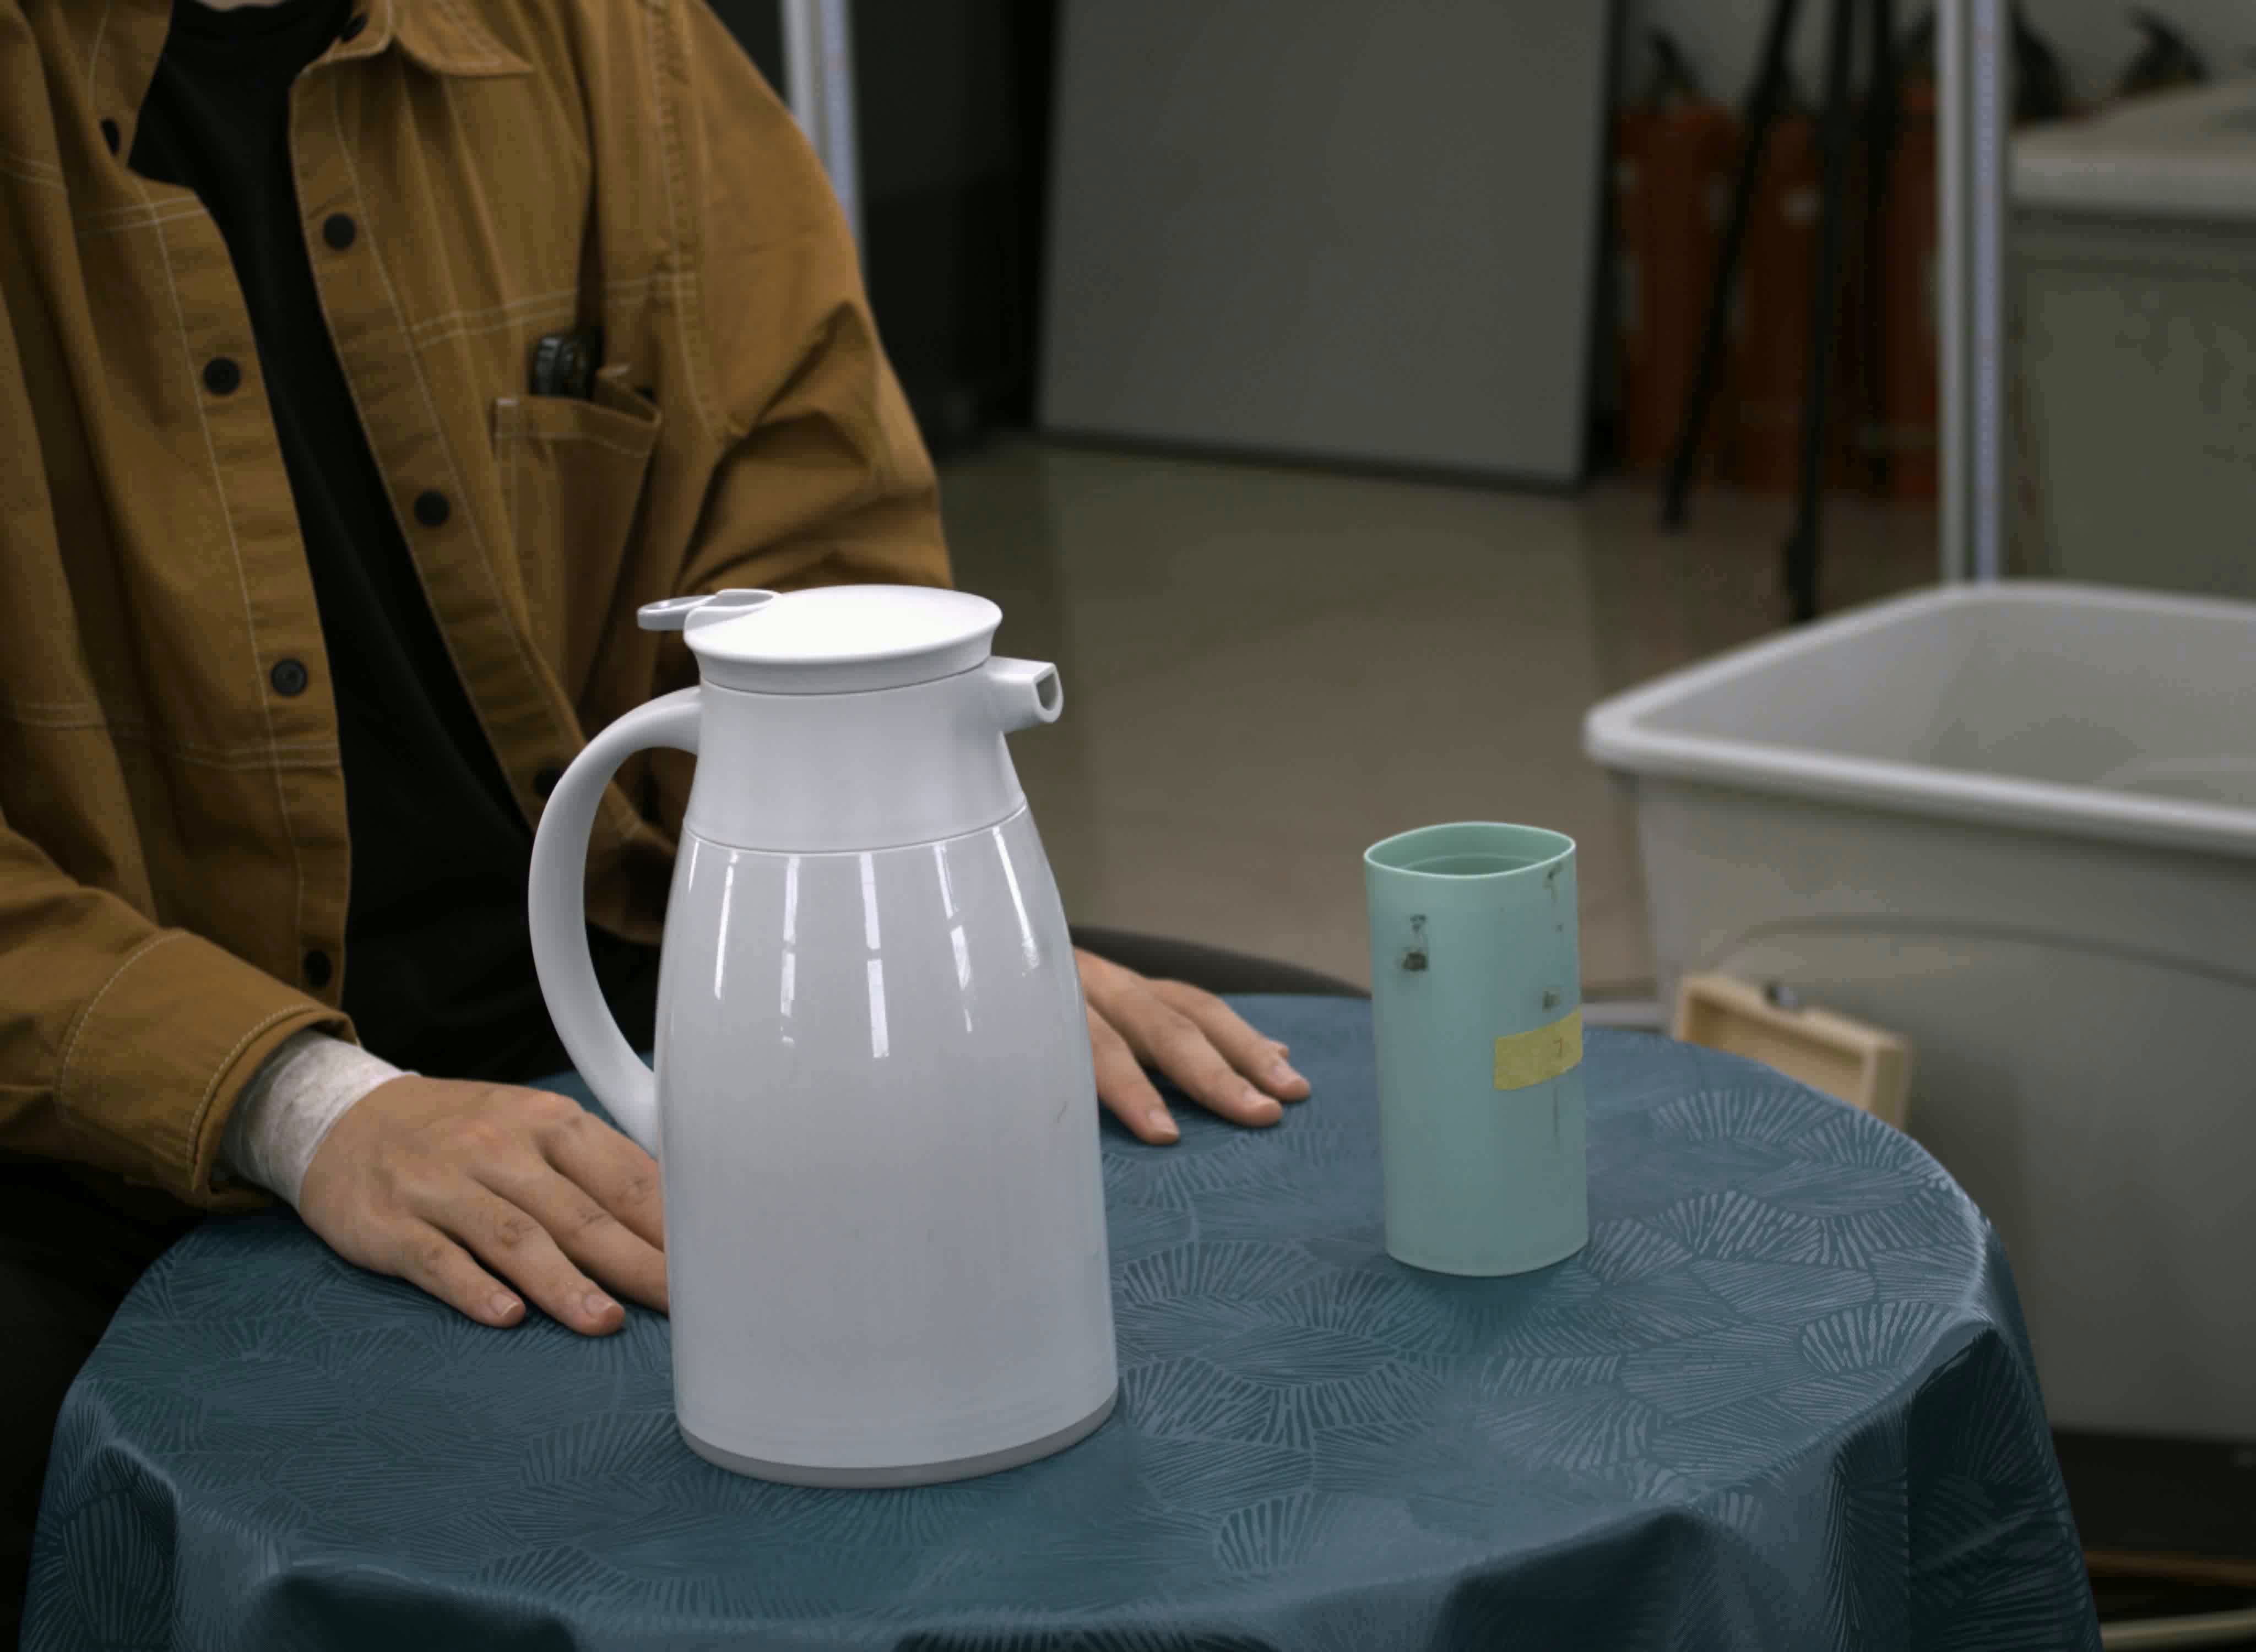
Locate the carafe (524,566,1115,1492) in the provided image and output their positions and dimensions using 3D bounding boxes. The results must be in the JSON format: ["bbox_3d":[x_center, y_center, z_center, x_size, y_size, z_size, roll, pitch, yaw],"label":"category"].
[{"bbox_3d":[-0.094,0.052,1.564,0.167,0.251,0.131,0,14,20],"label":"carafe"}]

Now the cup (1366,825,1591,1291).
[{"bbox_3d":[0.109,0.071,1.682,0.066,0.134,0.067,-4,13,0],"label":"cup"}]
